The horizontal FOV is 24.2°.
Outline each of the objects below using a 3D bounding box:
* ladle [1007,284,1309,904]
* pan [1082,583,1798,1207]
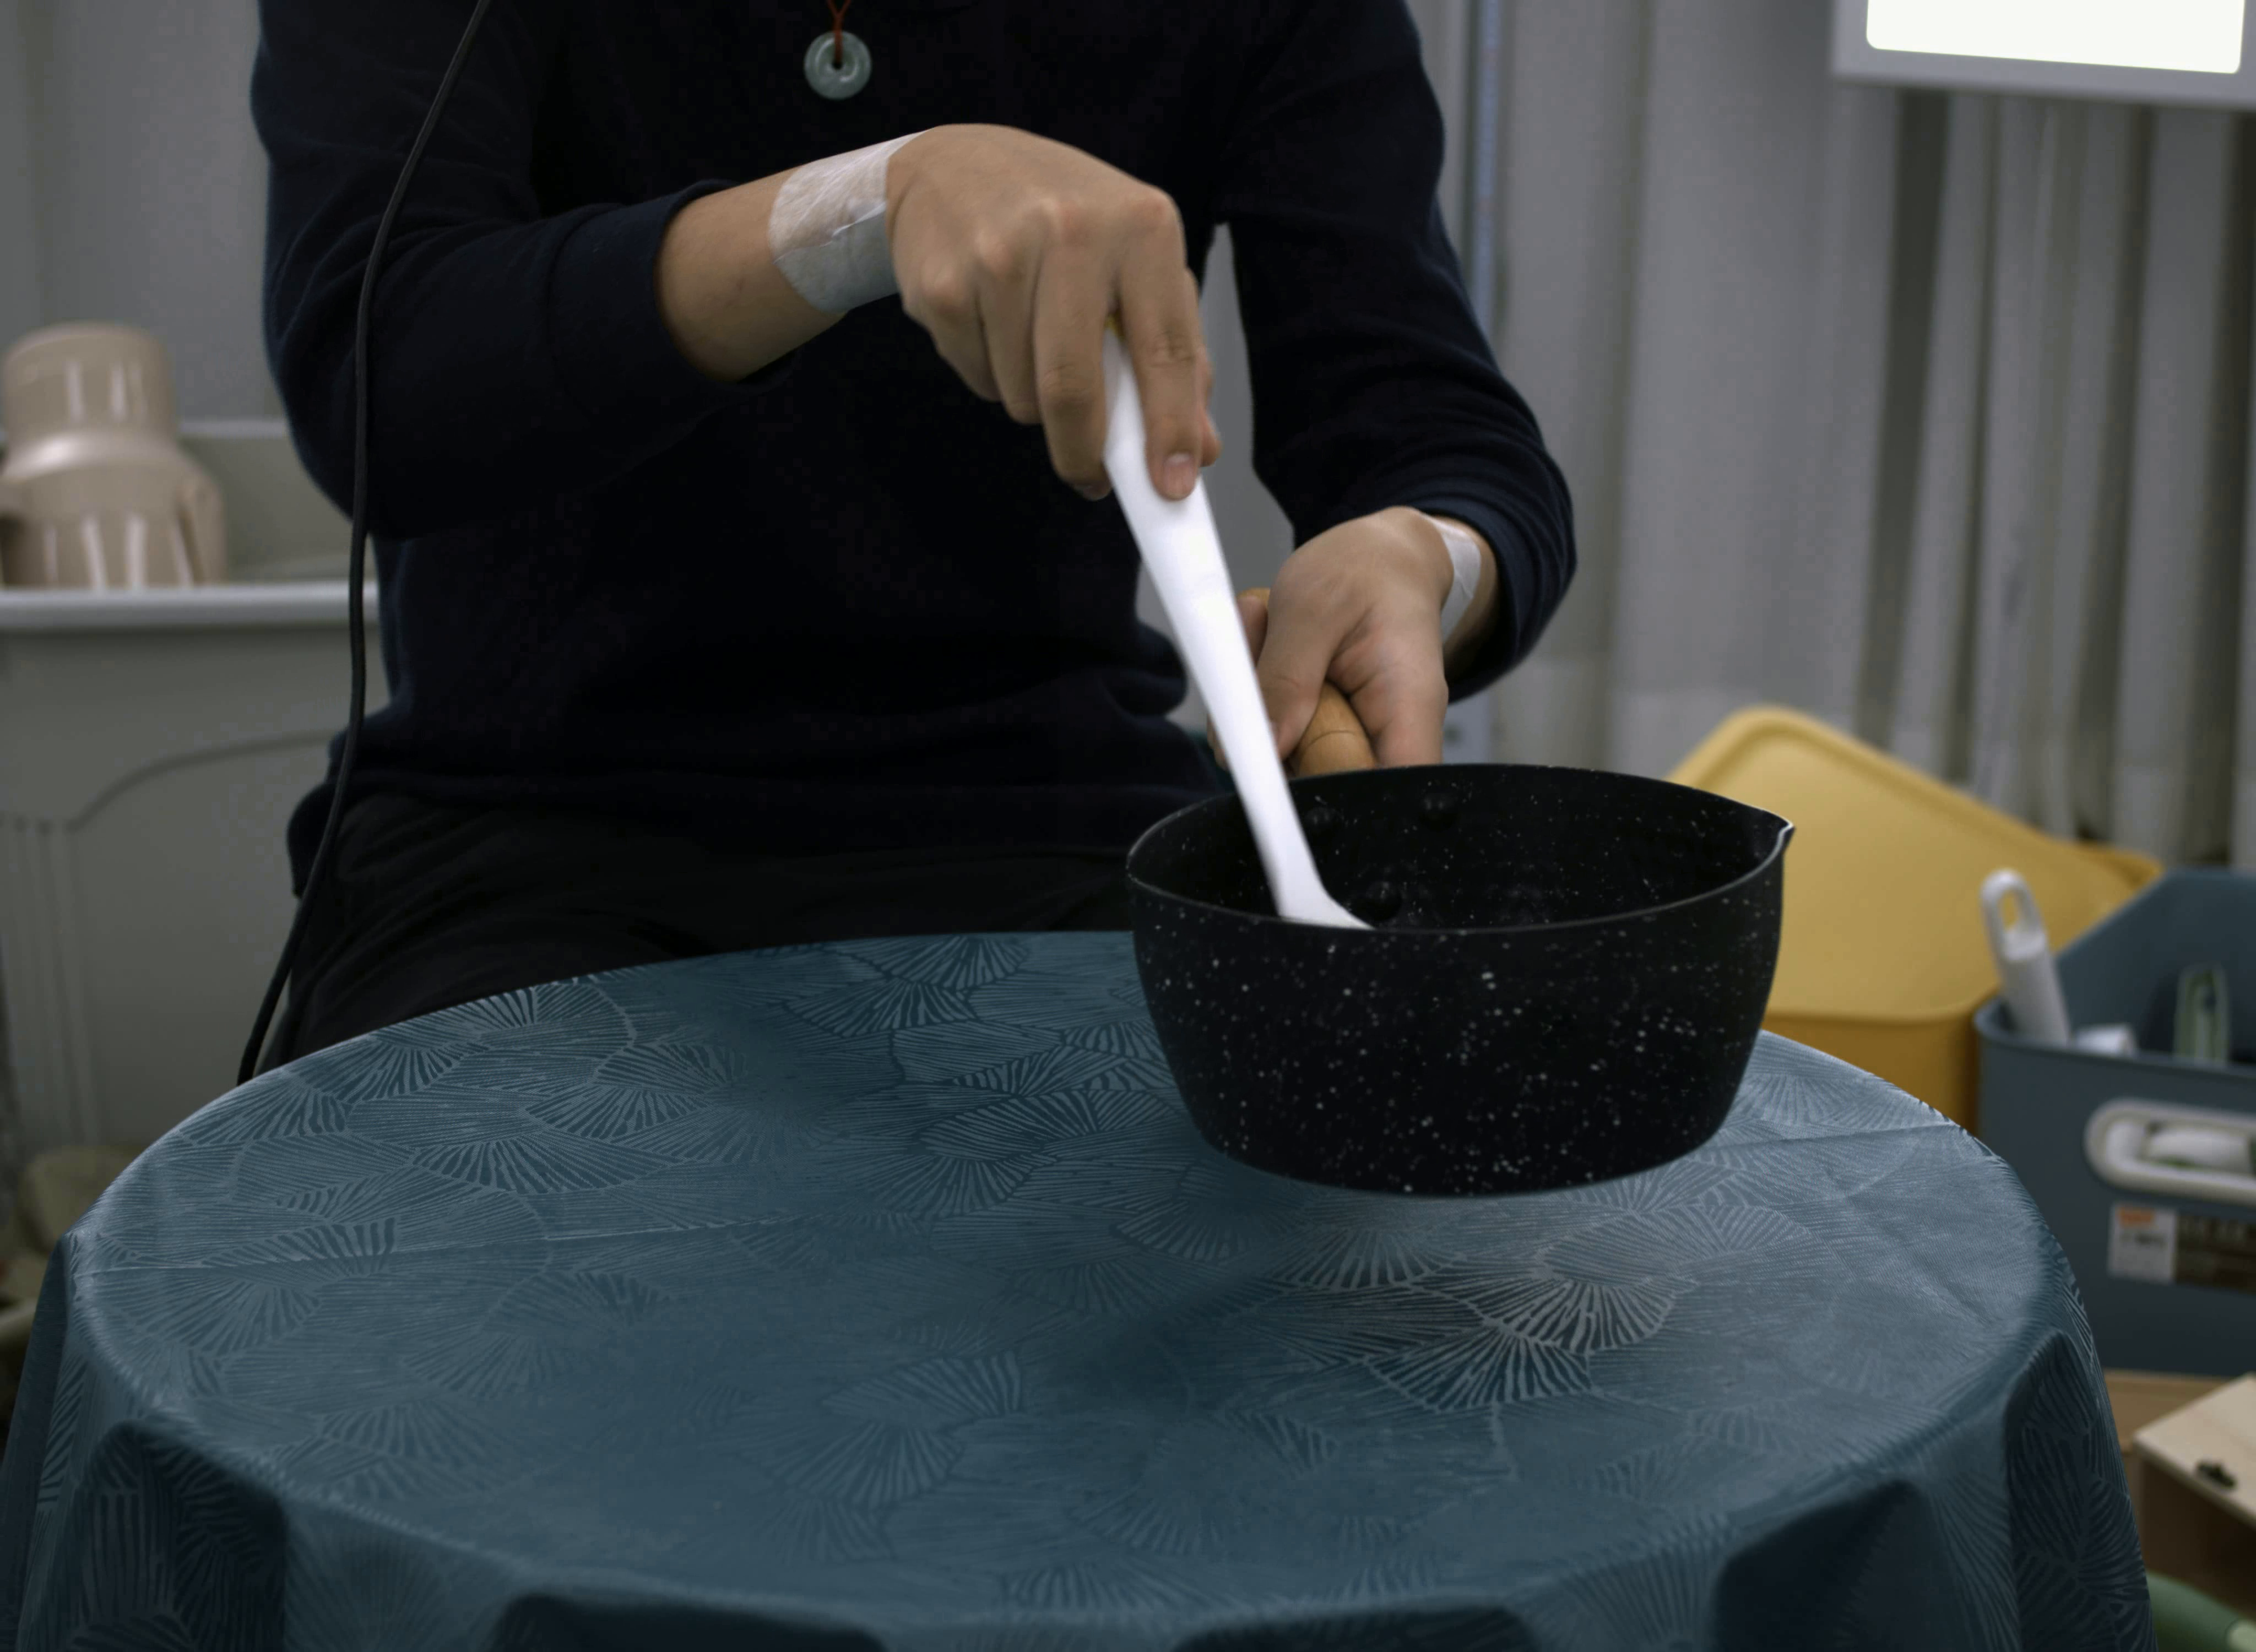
[{"bbox_3d":[0.031,-0.042,1.545,0.090,0.291,0.070,-10,-23,-26],"label":"ladle"},{"bbox_3d":[0.075,0.015,1.574,0.207,0.109,0.339,-6,16,-12],"label":"pan"}]
